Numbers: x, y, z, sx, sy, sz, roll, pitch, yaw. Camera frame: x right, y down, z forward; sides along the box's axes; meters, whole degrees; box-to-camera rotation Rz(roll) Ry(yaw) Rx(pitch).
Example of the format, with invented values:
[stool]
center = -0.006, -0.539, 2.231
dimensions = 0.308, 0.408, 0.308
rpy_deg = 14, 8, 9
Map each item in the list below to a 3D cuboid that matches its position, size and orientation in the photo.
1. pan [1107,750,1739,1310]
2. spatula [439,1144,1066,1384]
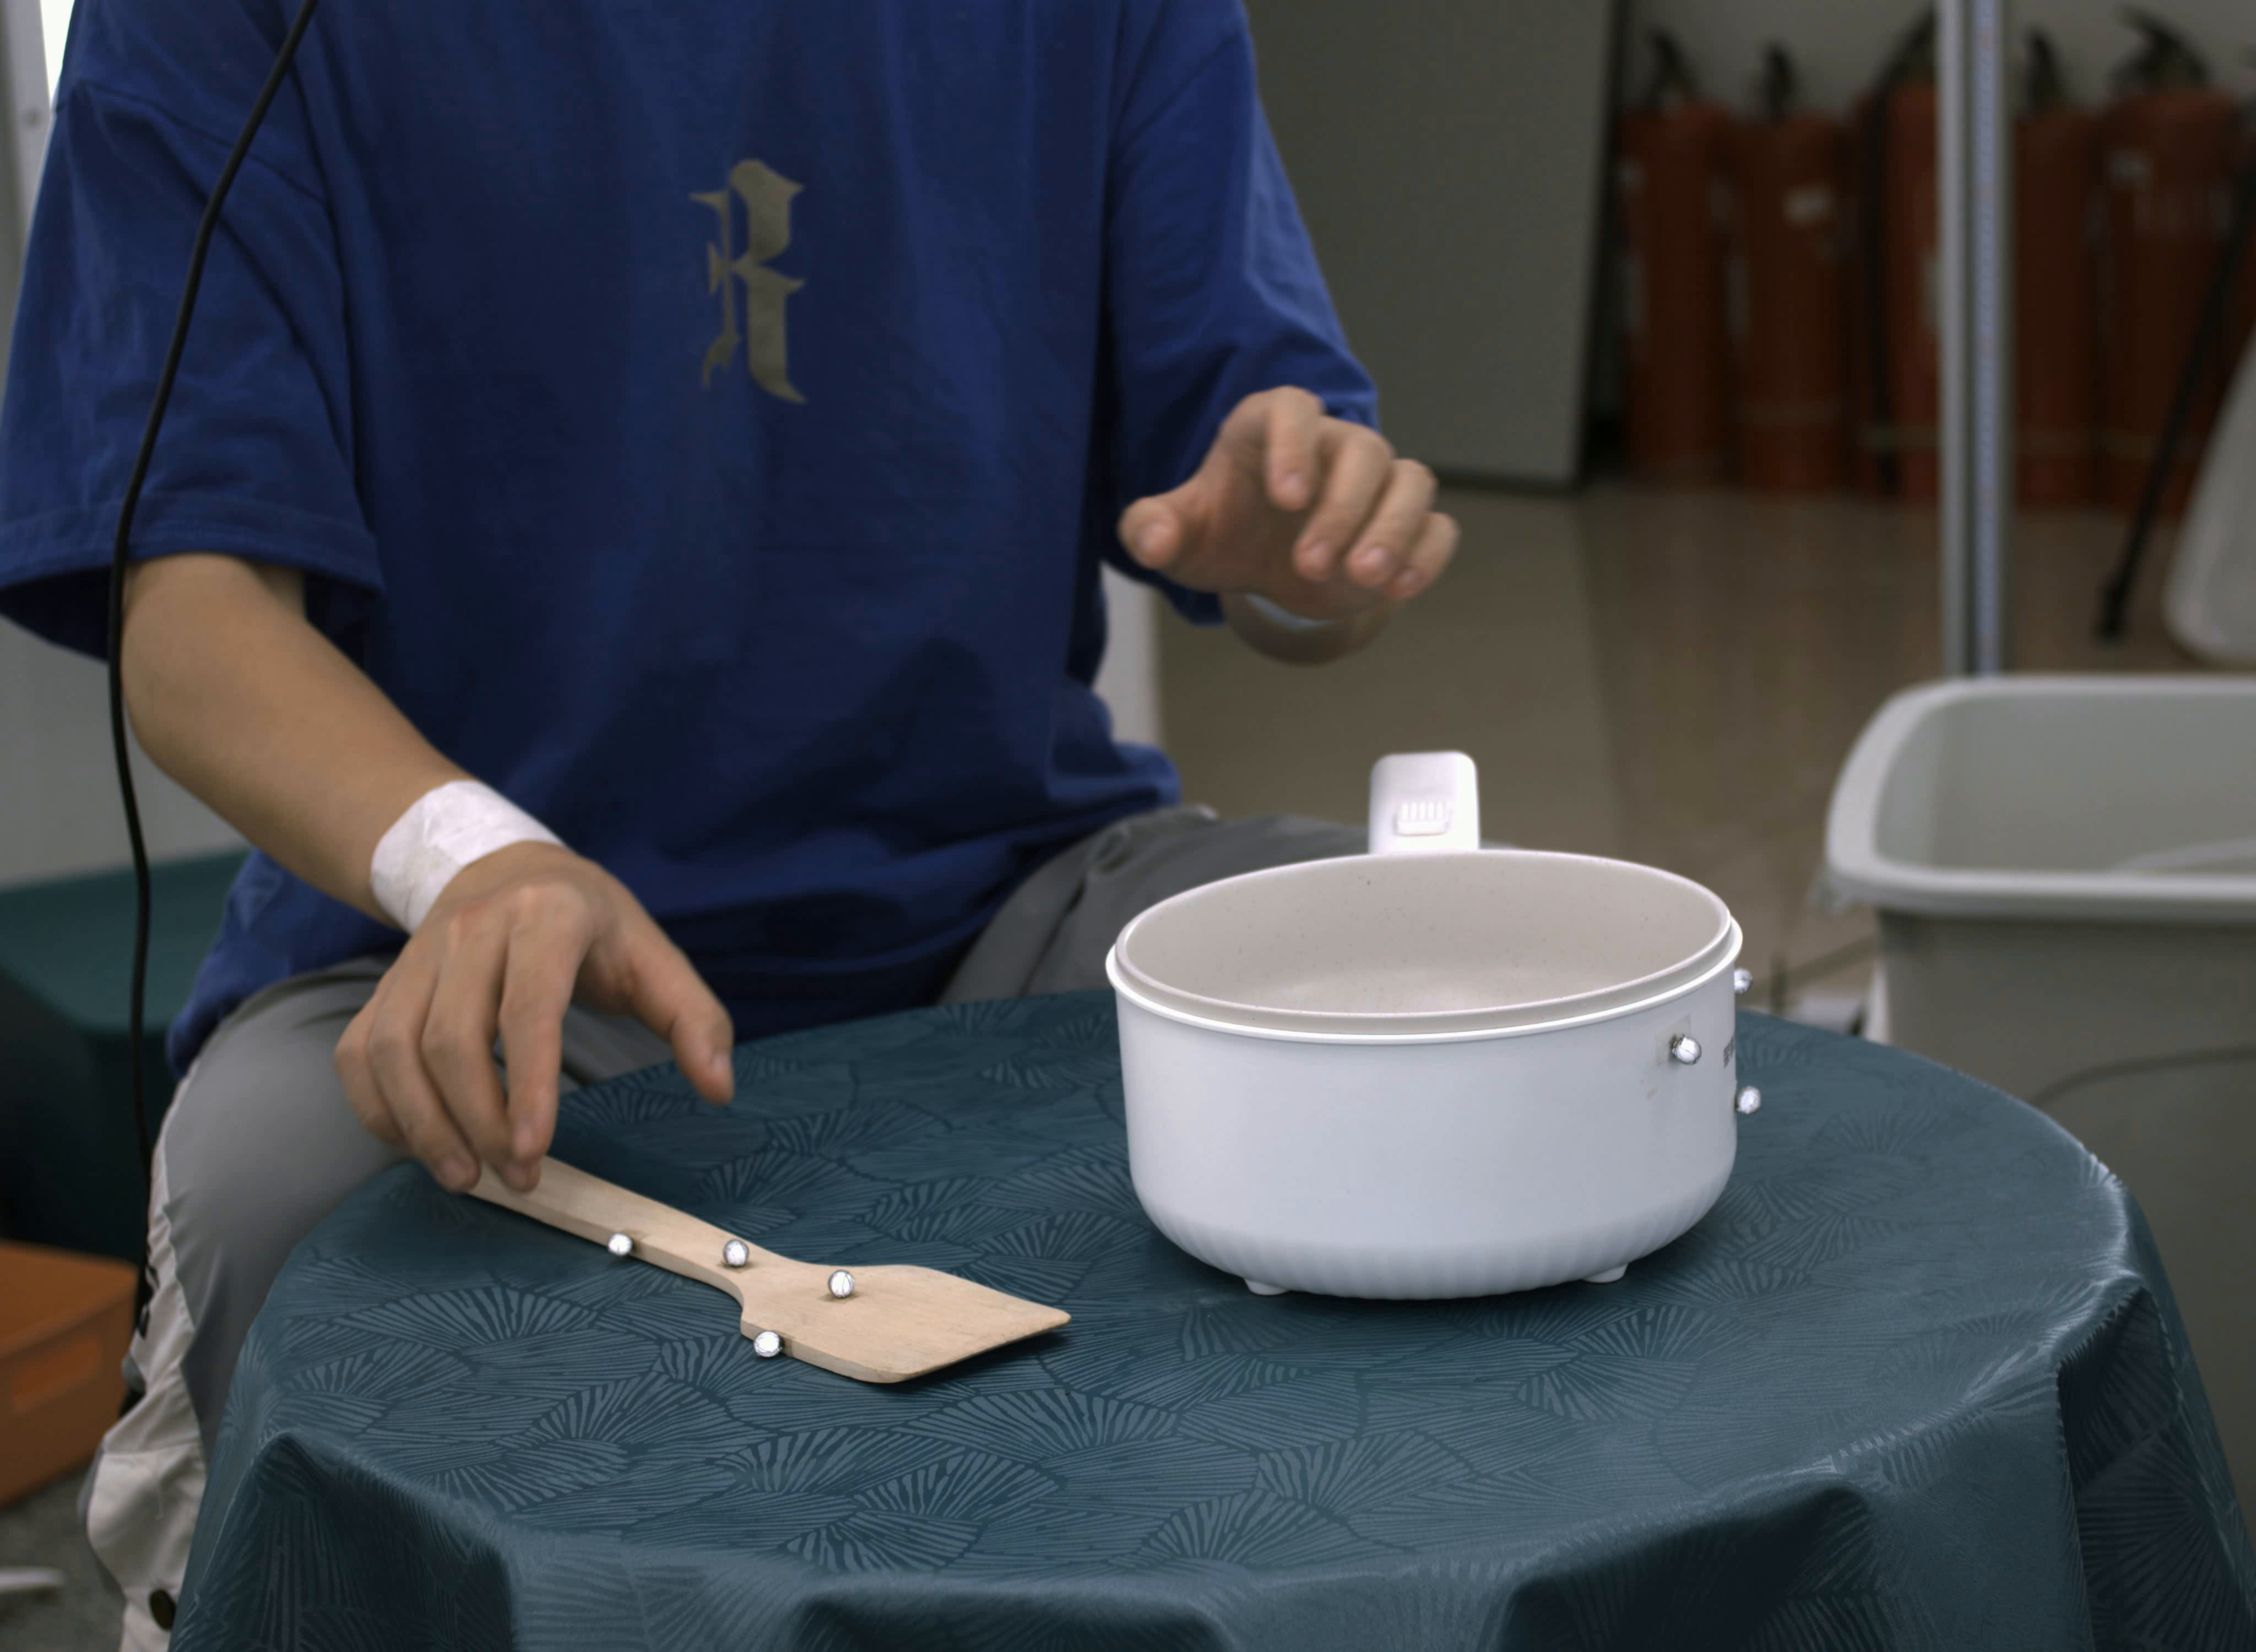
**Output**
[pan]
center = 0.099, 0.063, 1.774
dimensions = 0.199, 0.103, 0.354
rpy_deg = -5, 14, 4
[spatula]
center = -0.134, 0.137, 1.726
dimensions = 0.071, 0.011, 0.296
rpy_deg = -16, 19, -36
